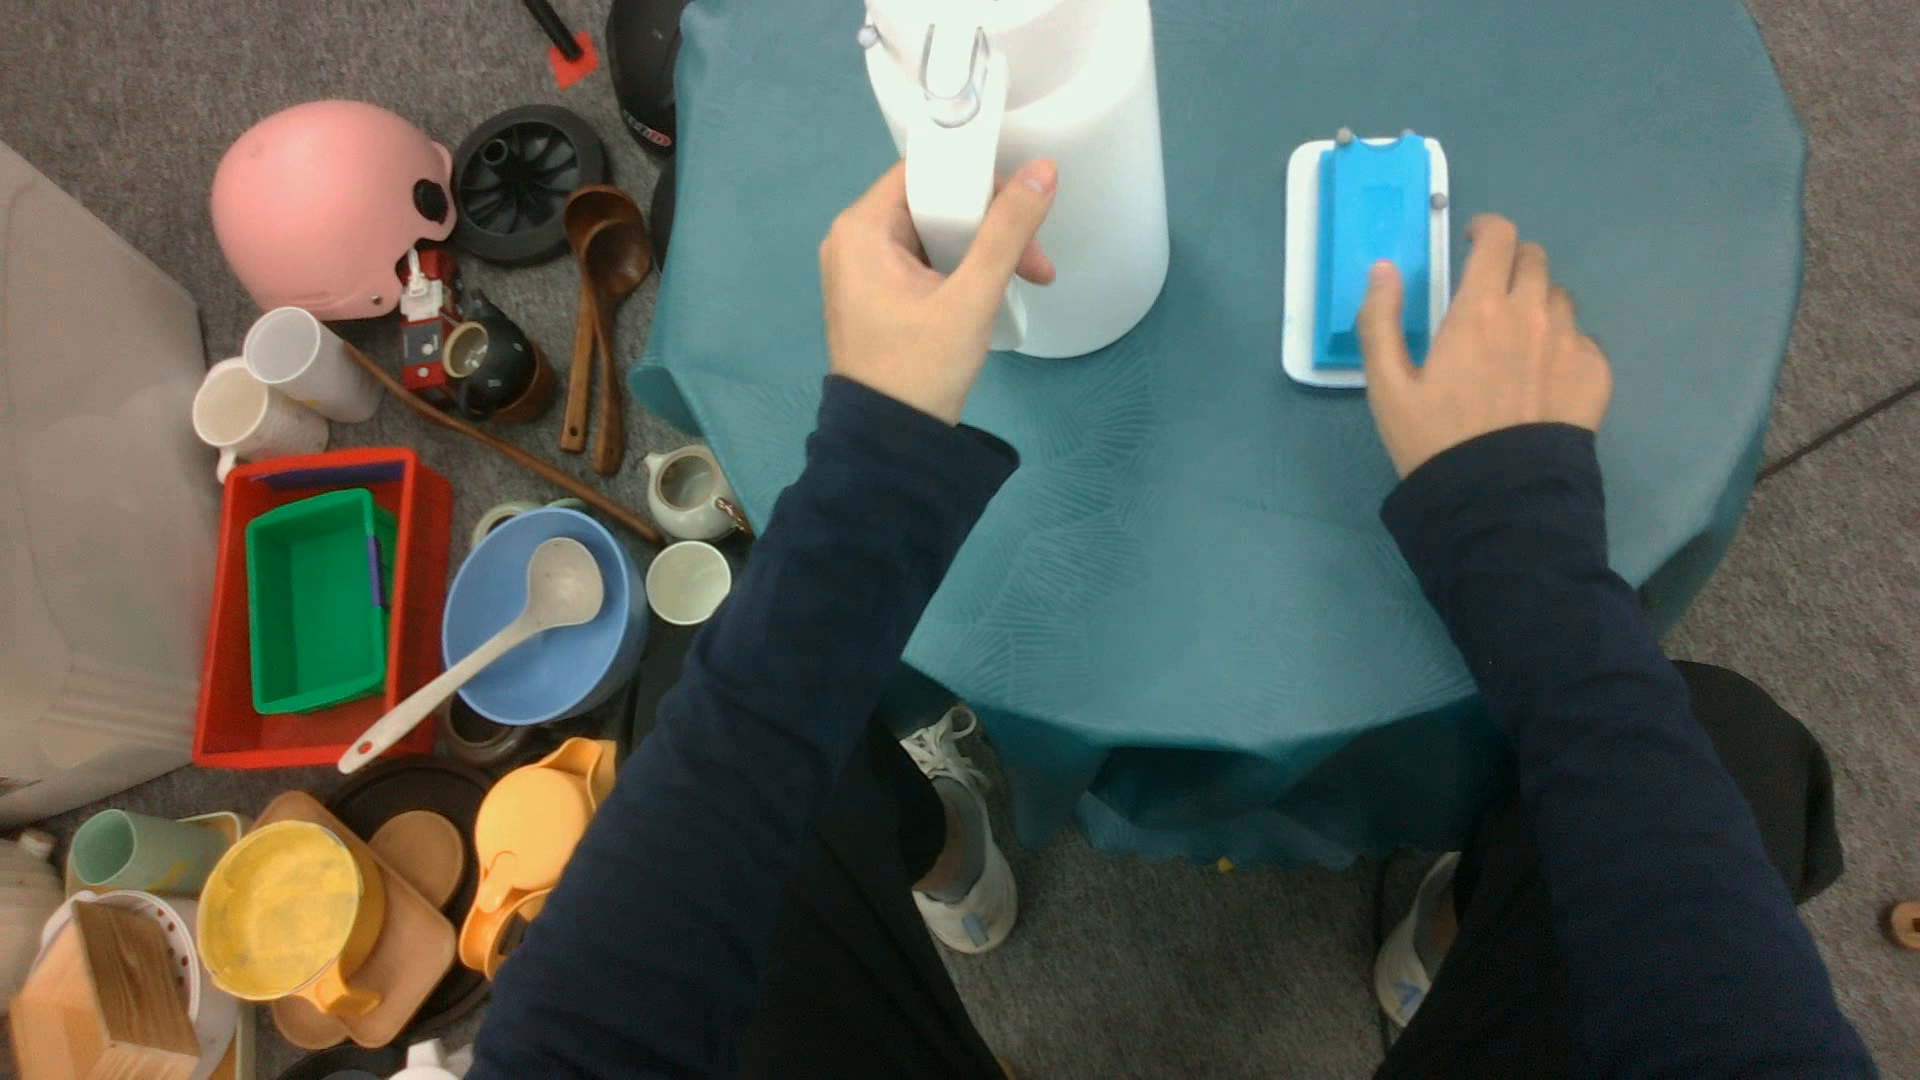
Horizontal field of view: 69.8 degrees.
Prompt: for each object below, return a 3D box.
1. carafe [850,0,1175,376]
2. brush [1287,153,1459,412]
[{"bbox_3d":[0.033,-0.163,0.634,0.124,0.268,0.173,5,75,11],"label":"carafe"},{"bbox_3d":[0.211,-0.136,0.697,0.084,0.056,0.144,3,69,15],"label":"brush"}]
